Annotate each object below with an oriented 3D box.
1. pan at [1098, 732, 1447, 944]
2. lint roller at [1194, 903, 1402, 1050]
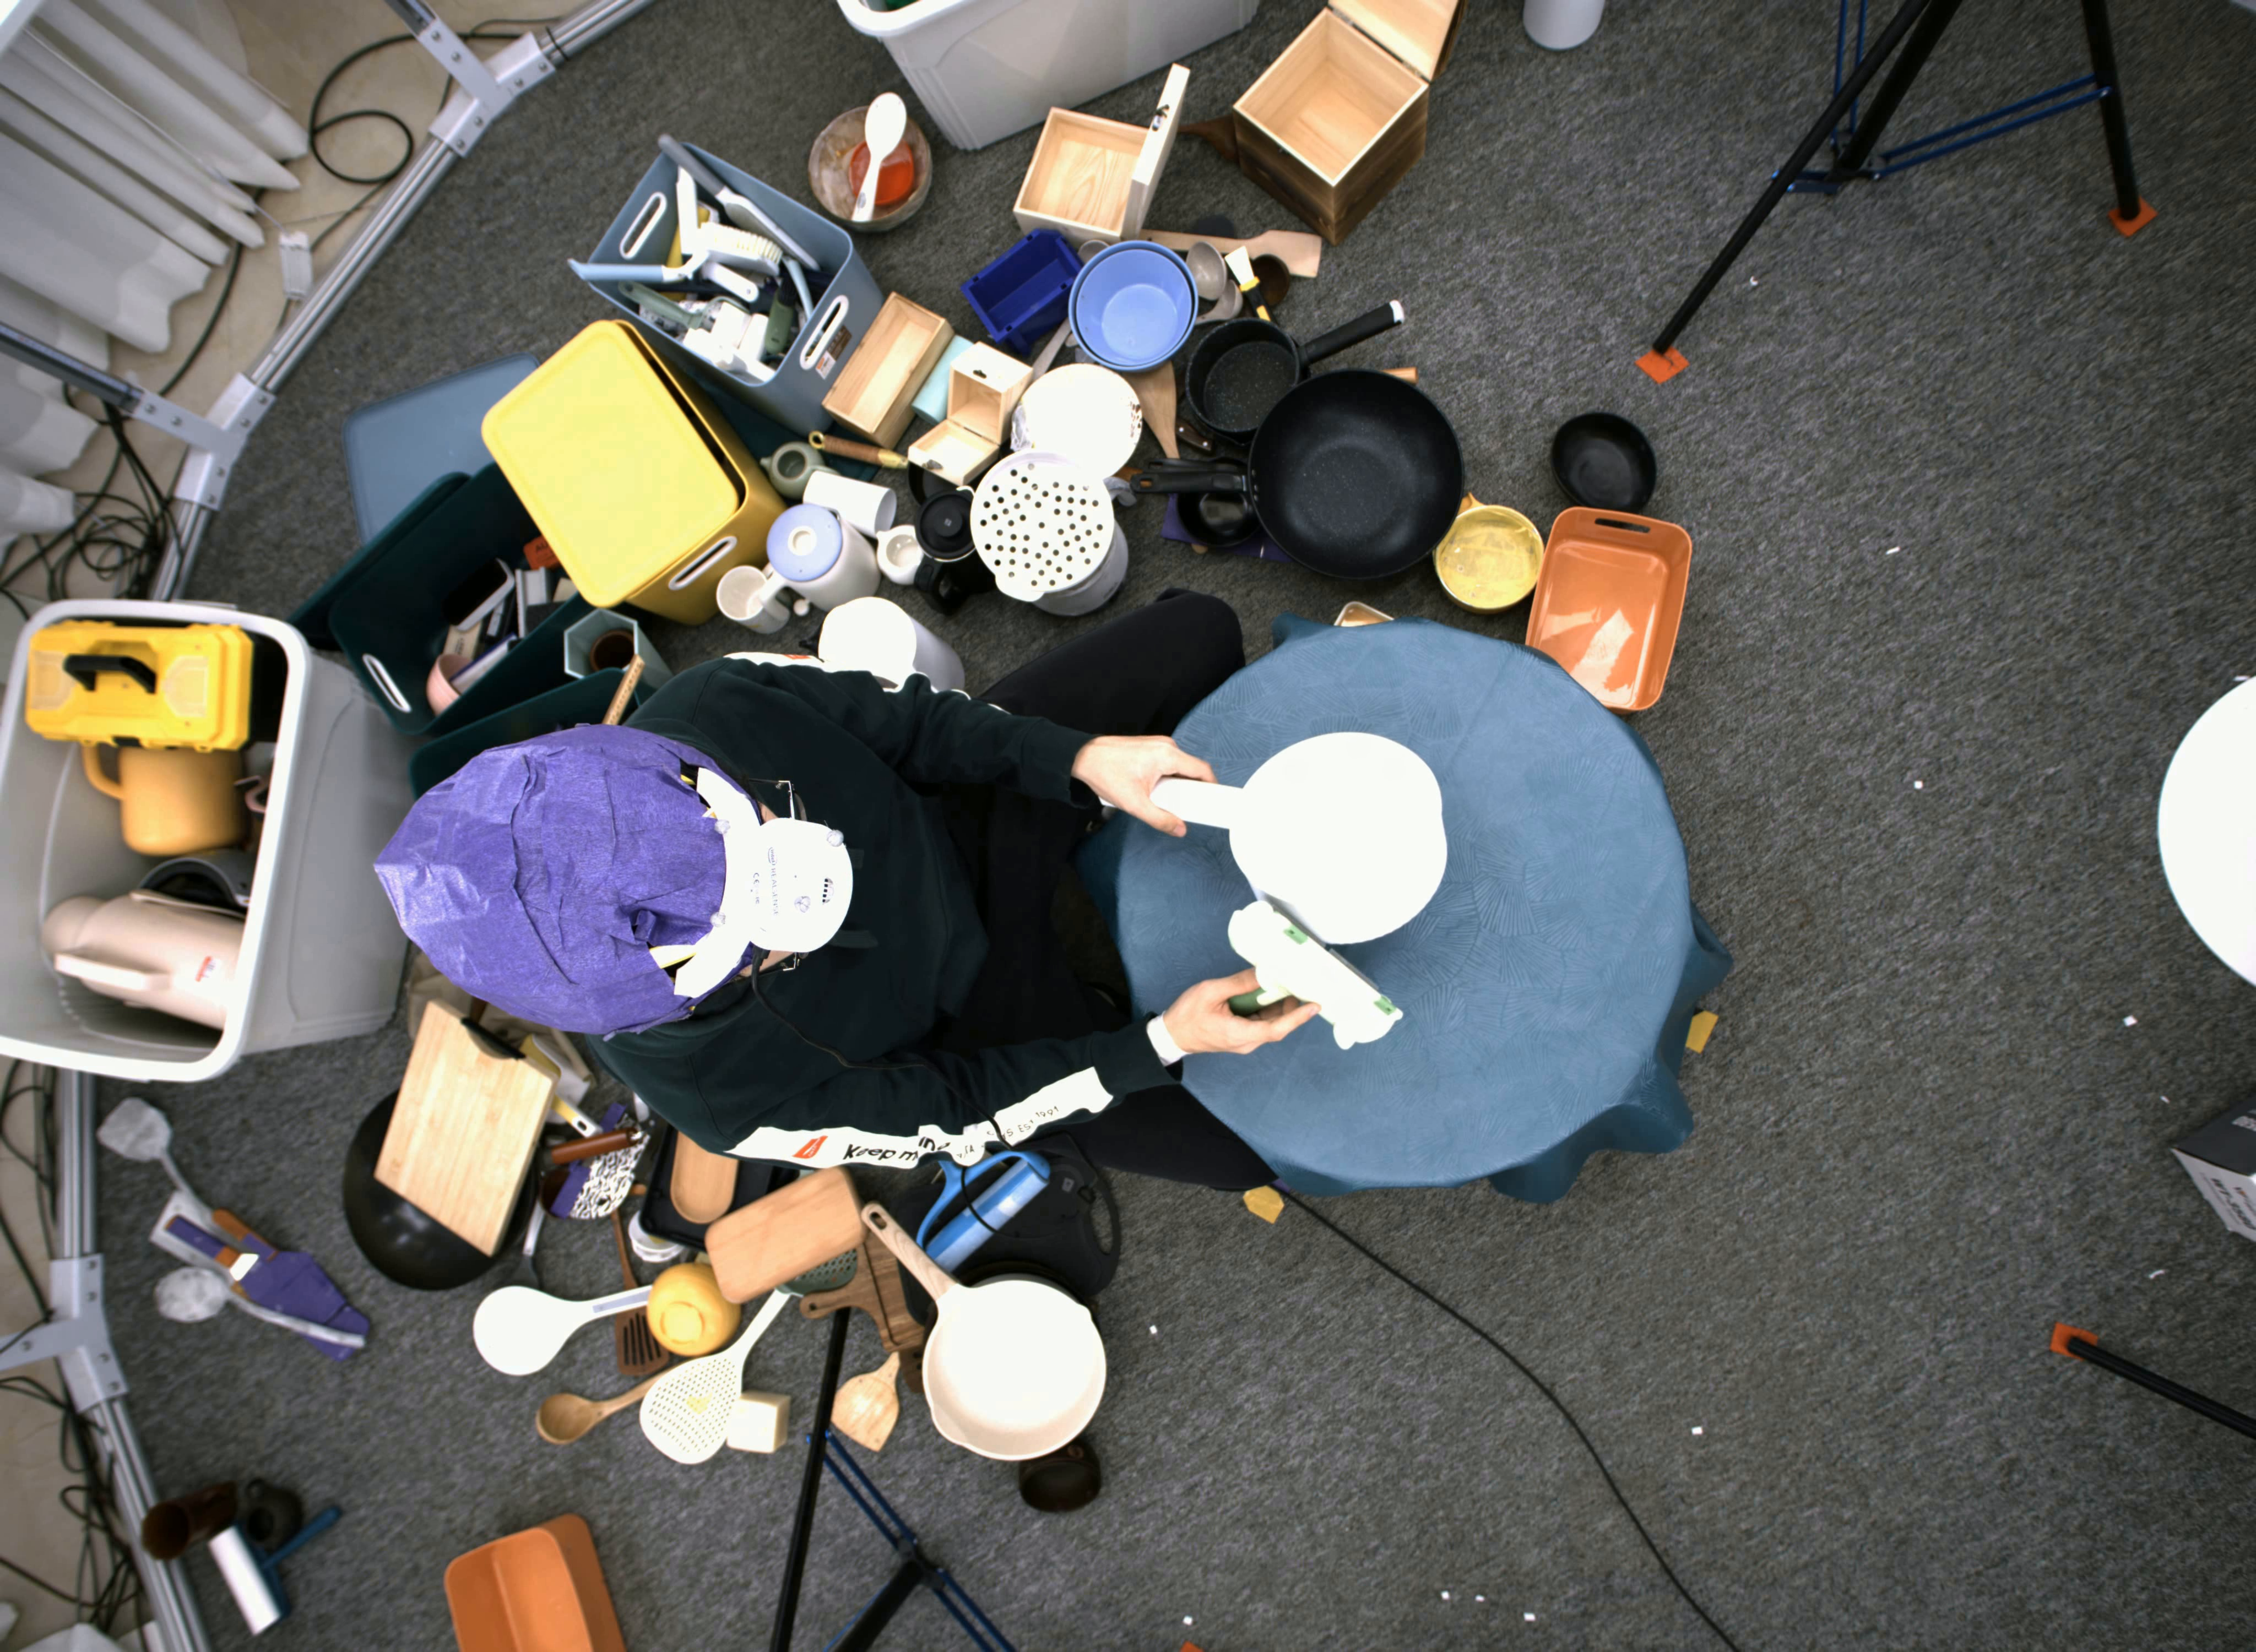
[{"bbox_3d":[0.140,0.003,1.366,0.356,0.104,0.197,11,60,30],"label":"pan"},{"bbox_3d":[0.133,0.169,1.327,0.187,0.200,0.080,-32,37,32],"label":"lint roller"}]
